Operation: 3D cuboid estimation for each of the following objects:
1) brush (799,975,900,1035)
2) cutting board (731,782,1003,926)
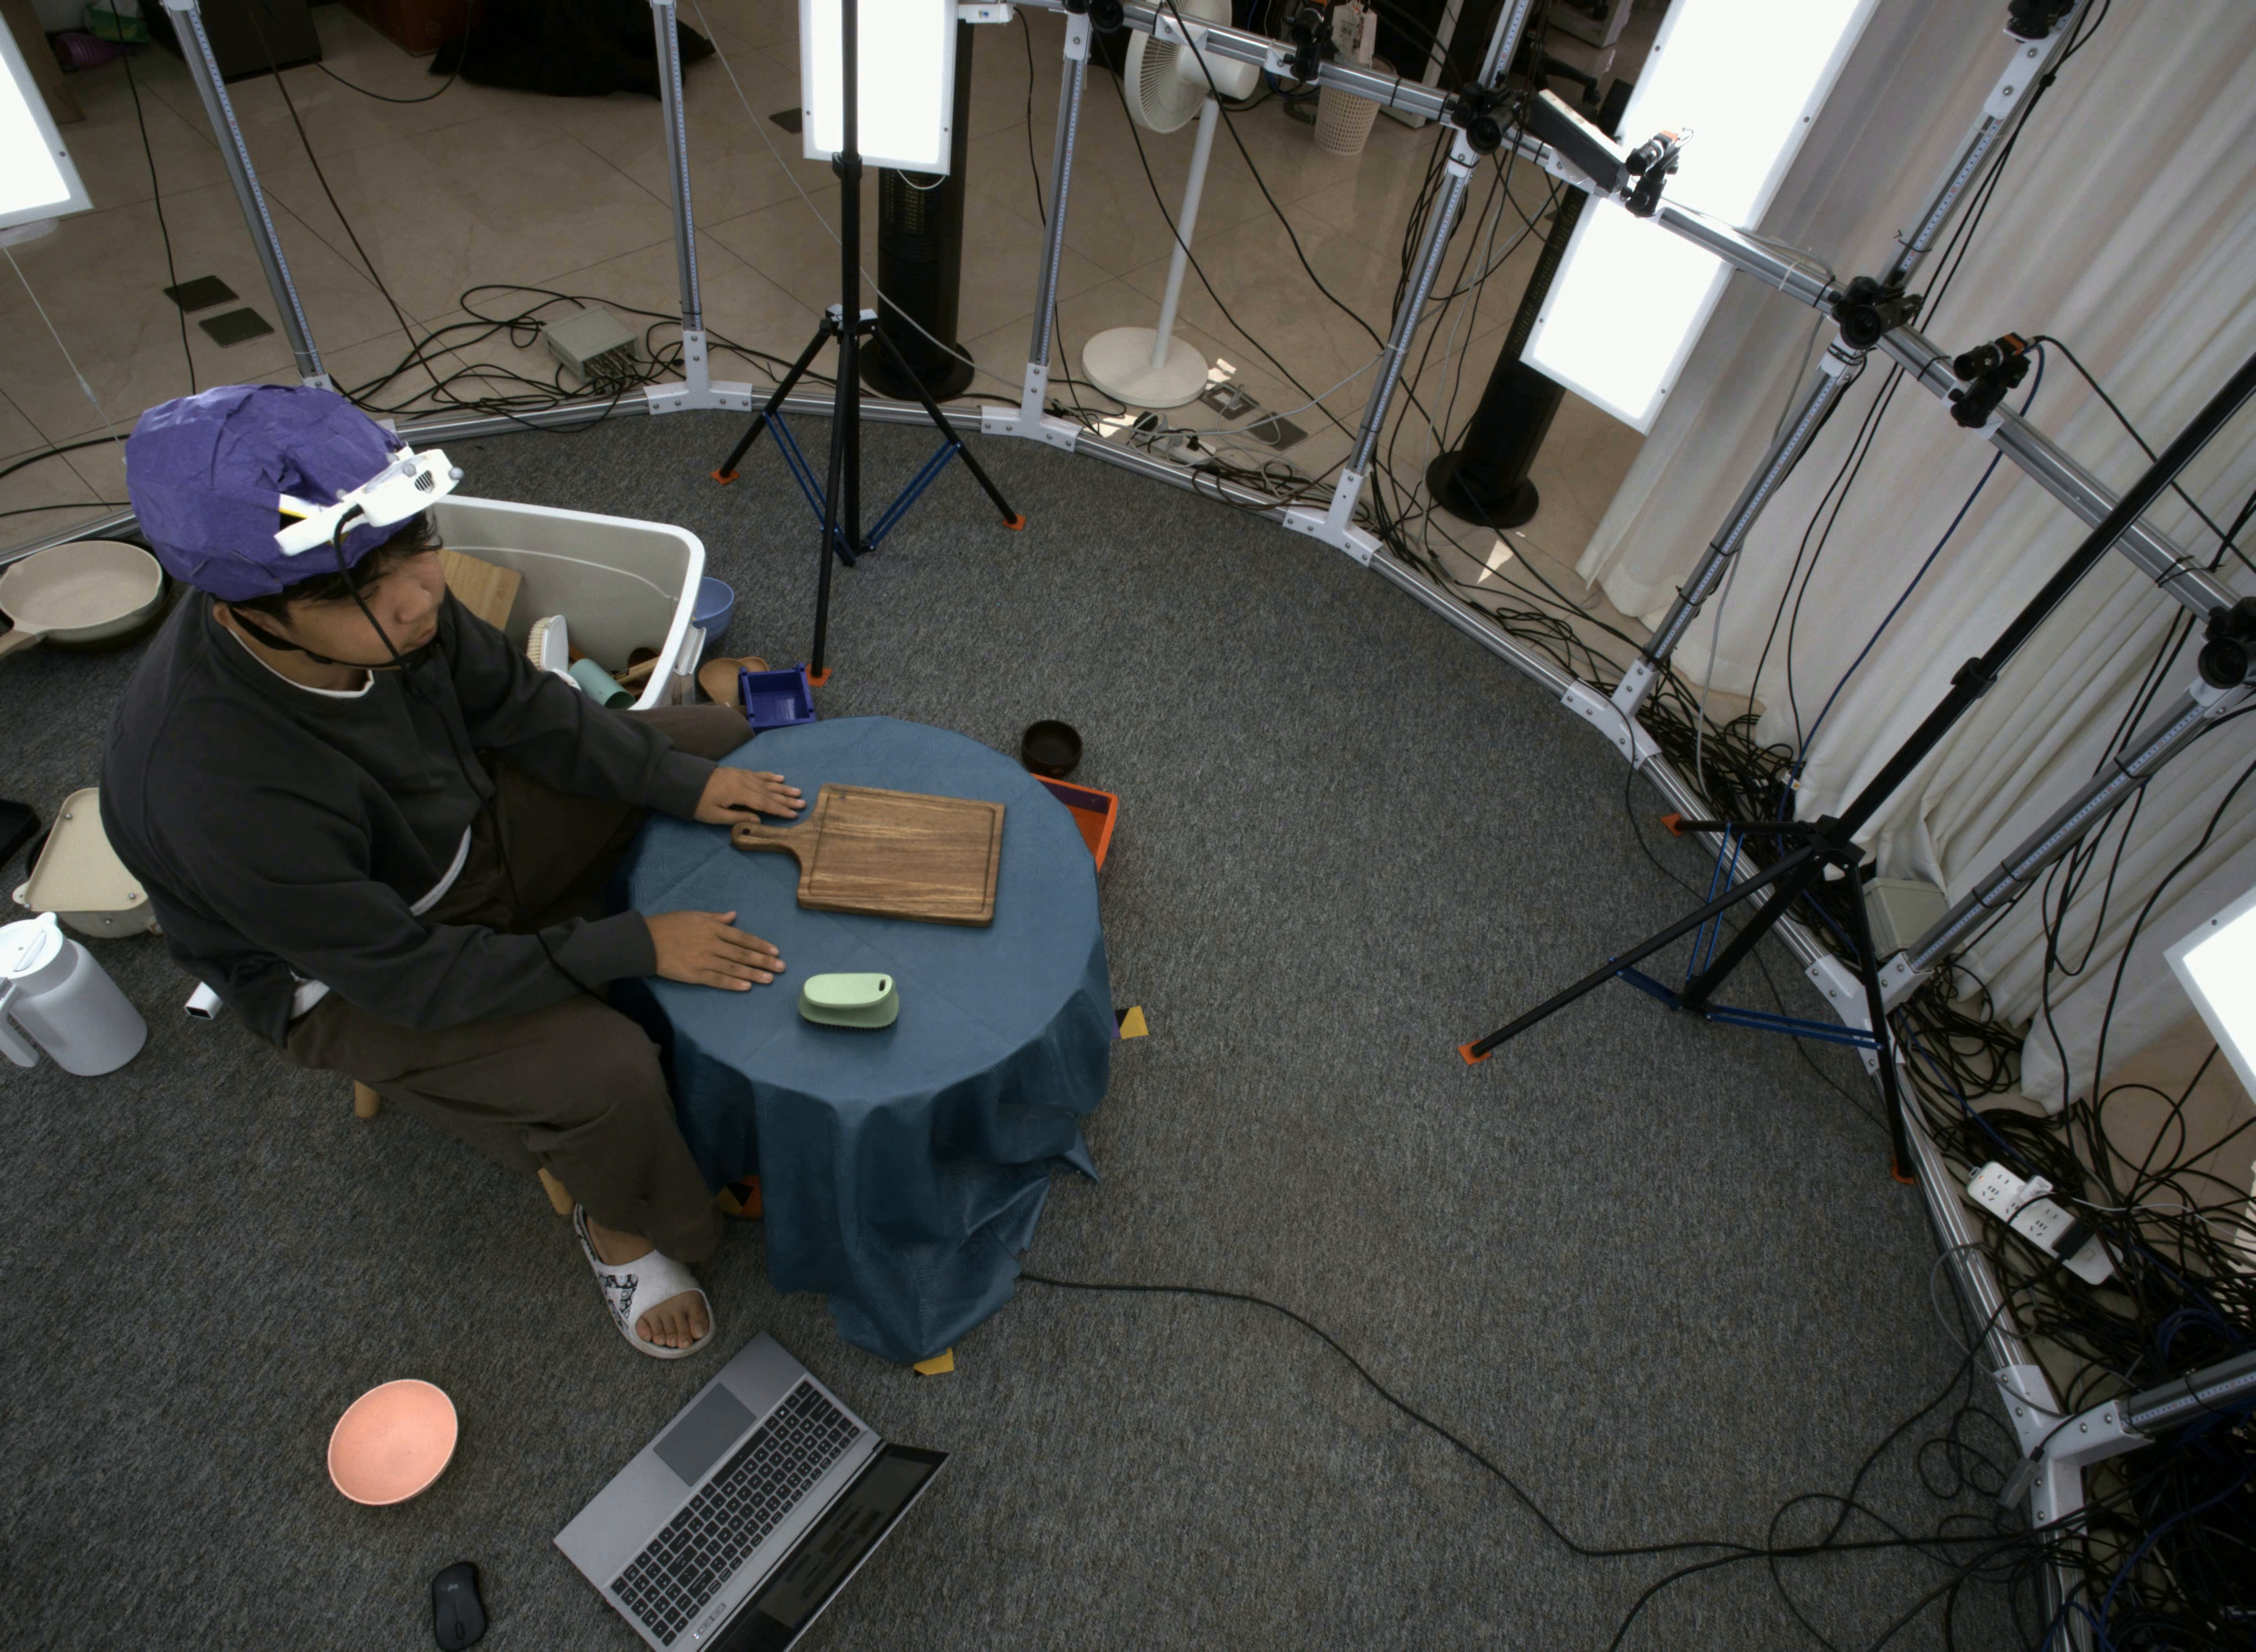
[{"bbox_3d":[-0.331,0.210,1.552,0.121,0.078,0.058,-4,52,2],"label":"brush"},{"bbox_3d":[-0.343,0.028,1.706,0.351,0.023,0.197,7,52,-8],"label":"cutting board"}]
